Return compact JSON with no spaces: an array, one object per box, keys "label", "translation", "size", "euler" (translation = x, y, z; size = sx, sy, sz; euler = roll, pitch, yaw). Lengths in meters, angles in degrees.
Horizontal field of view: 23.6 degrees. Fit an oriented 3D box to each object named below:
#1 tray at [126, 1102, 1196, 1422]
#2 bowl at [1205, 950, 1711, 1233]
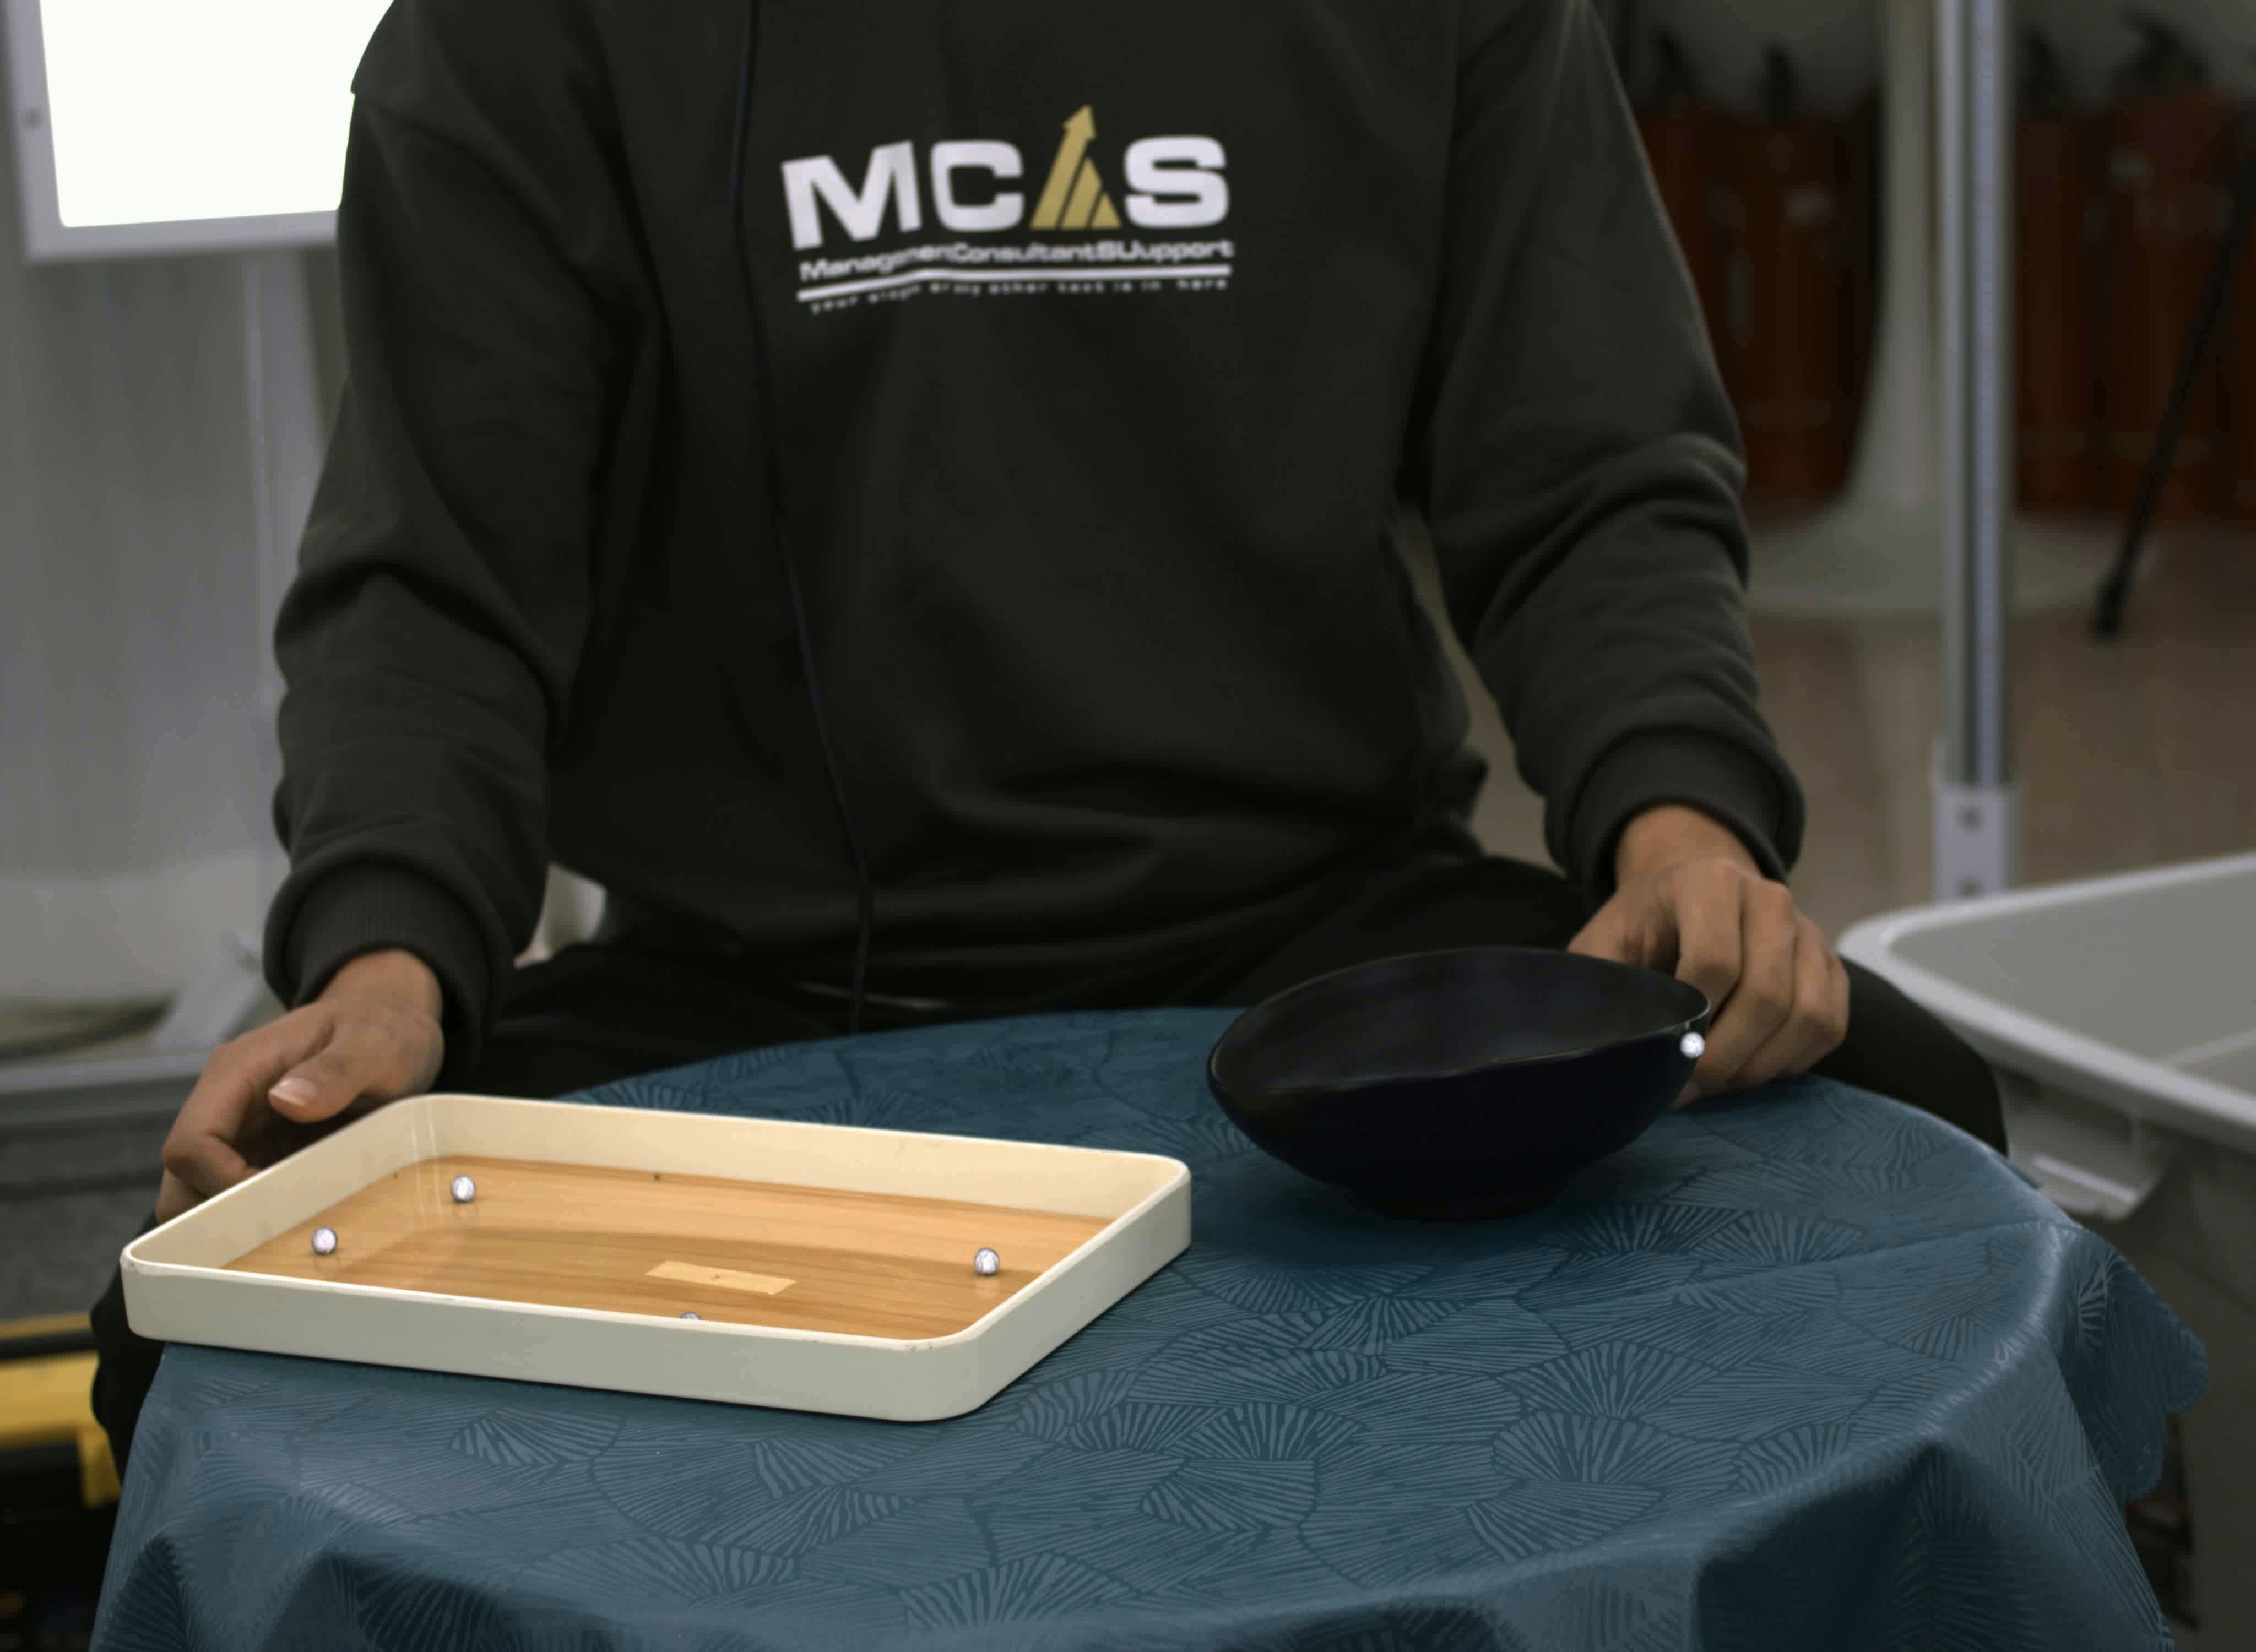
[{"label":"tray","translation":[-0.145,0.135,1.705],"size":[0.301,0.028,0.189],"euler":[3,15,26]},{"label":"bowl","translation":[0.110,0.091,1.745],"size":[0.167,0.067,0.138],"euler":[-9,13,-16]}]
